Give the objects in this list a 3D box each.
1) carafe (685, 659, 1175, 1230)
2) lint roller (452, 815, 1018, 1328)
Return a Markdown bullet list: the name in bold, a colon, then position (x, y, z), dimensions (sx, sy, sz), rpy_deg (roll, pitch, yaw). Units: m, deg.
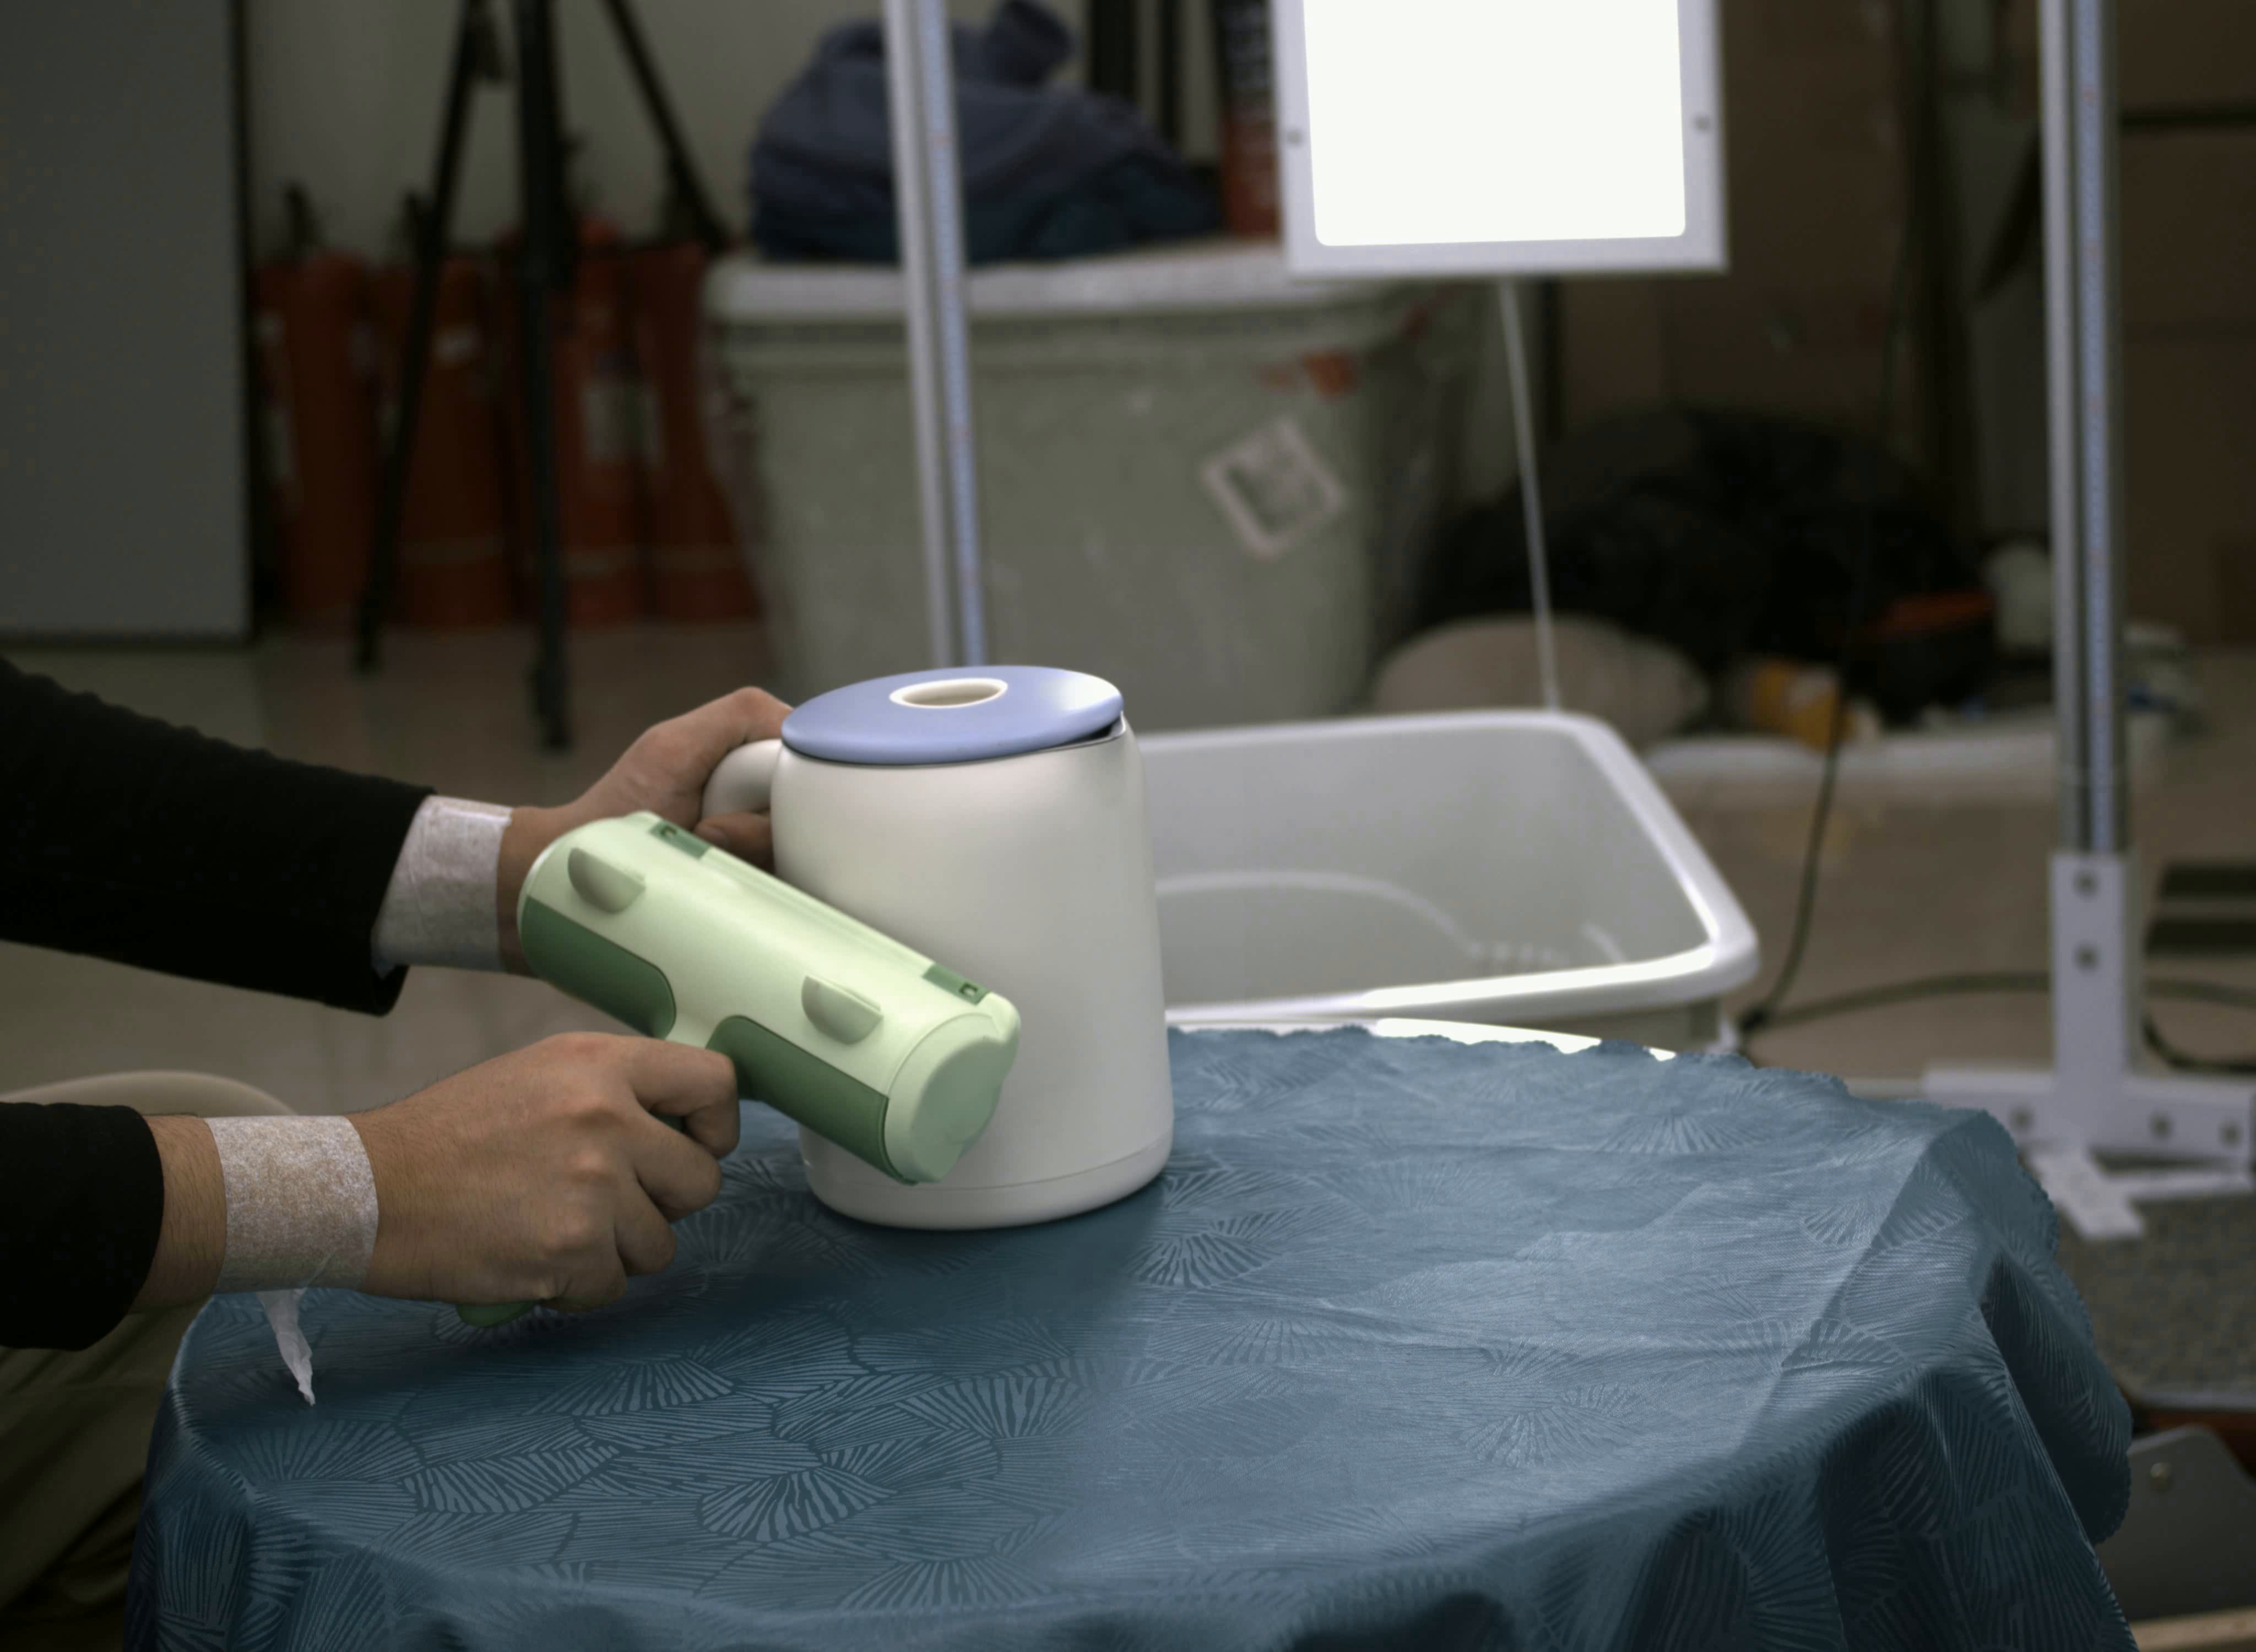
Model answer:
- **carafe**: position (-0.075, 0.039, 1.919), dimensions (0.195, 0.183, 0.129), rpy_deg (2, 15, 34)
- **lint roller**: position (-0.162, 0.084, 1.814), dimensions (0.202, 0.082, 0.180), rpy_deg (26, 57, 39)
